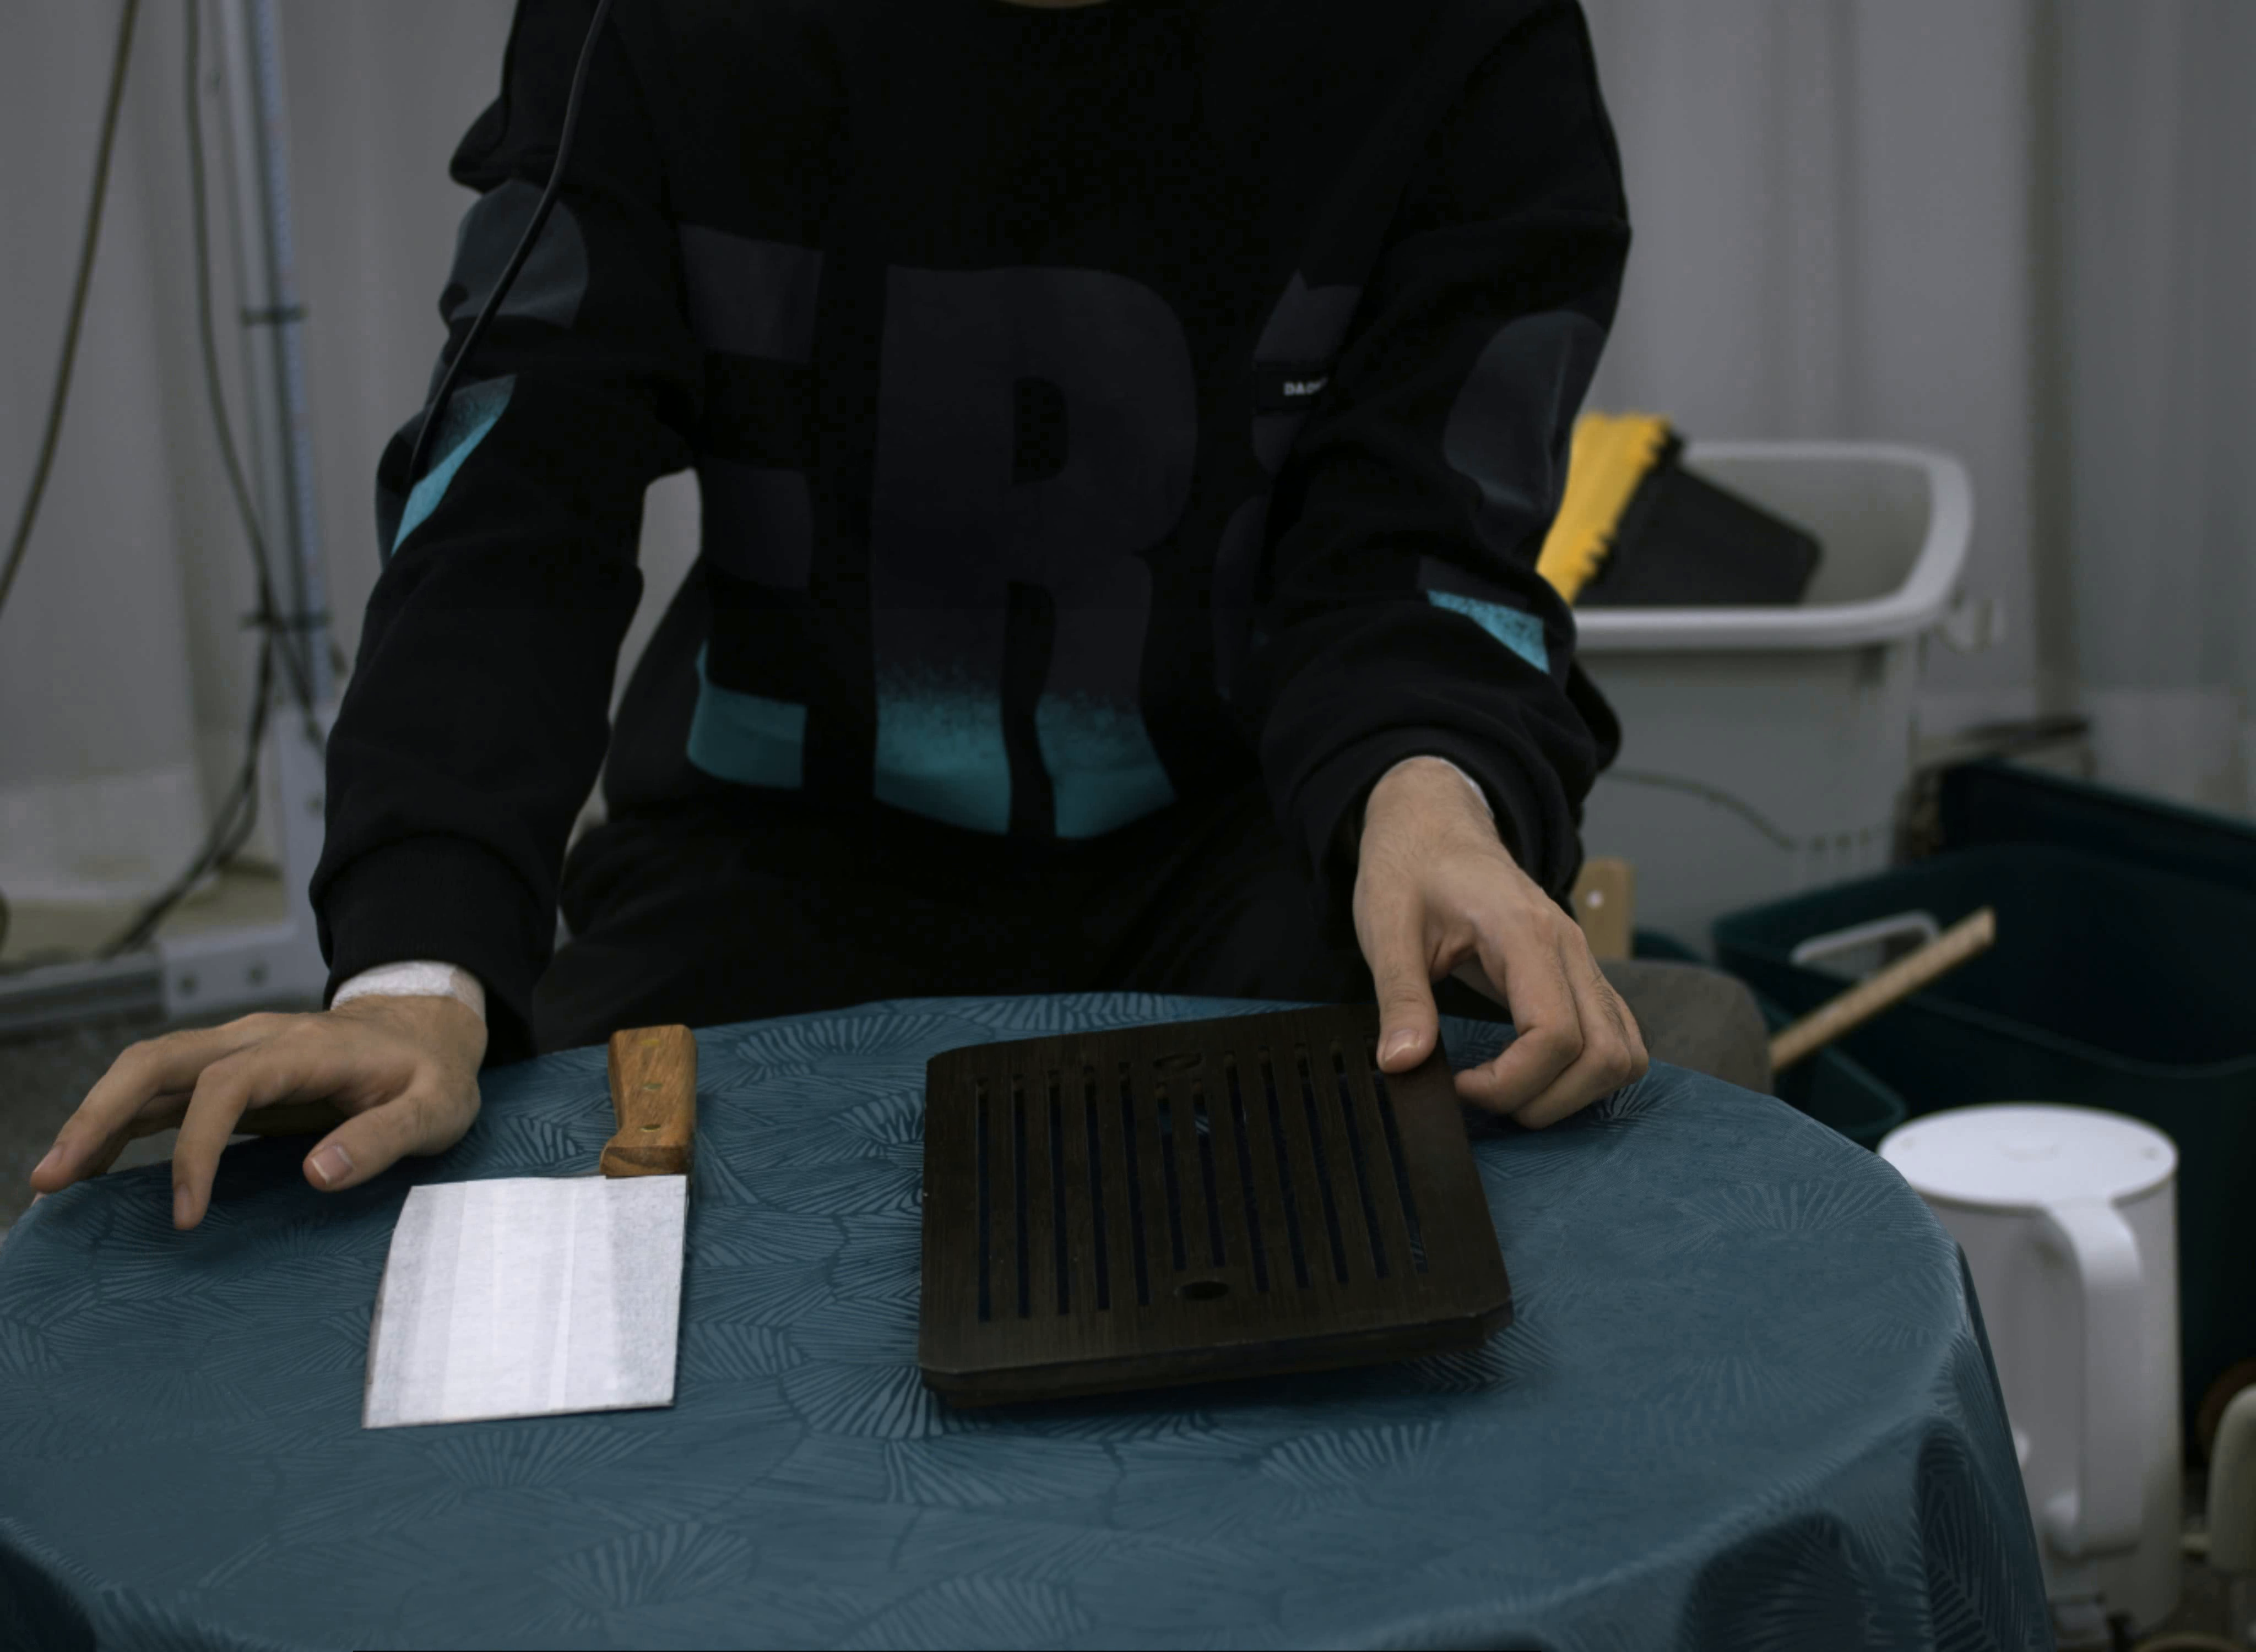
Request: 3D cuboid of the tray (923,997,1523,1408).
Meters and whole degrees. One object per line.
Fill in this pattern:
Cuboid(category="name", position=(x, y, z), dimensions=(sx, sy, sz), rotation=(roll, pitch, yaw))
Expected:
Cuboid(category="tray", position=(0.024, 0.112, 1.671), dimensions=(0.169, 0.018, 0.308), rotation=(-6, 15, 1))

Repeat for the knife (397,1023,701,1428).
Cuboid(category="knife", position=(-0.179, 0.122, 1.694), dimensions=(0.092, 0.021, 0.308), rotation=(-5, 17, -2))
